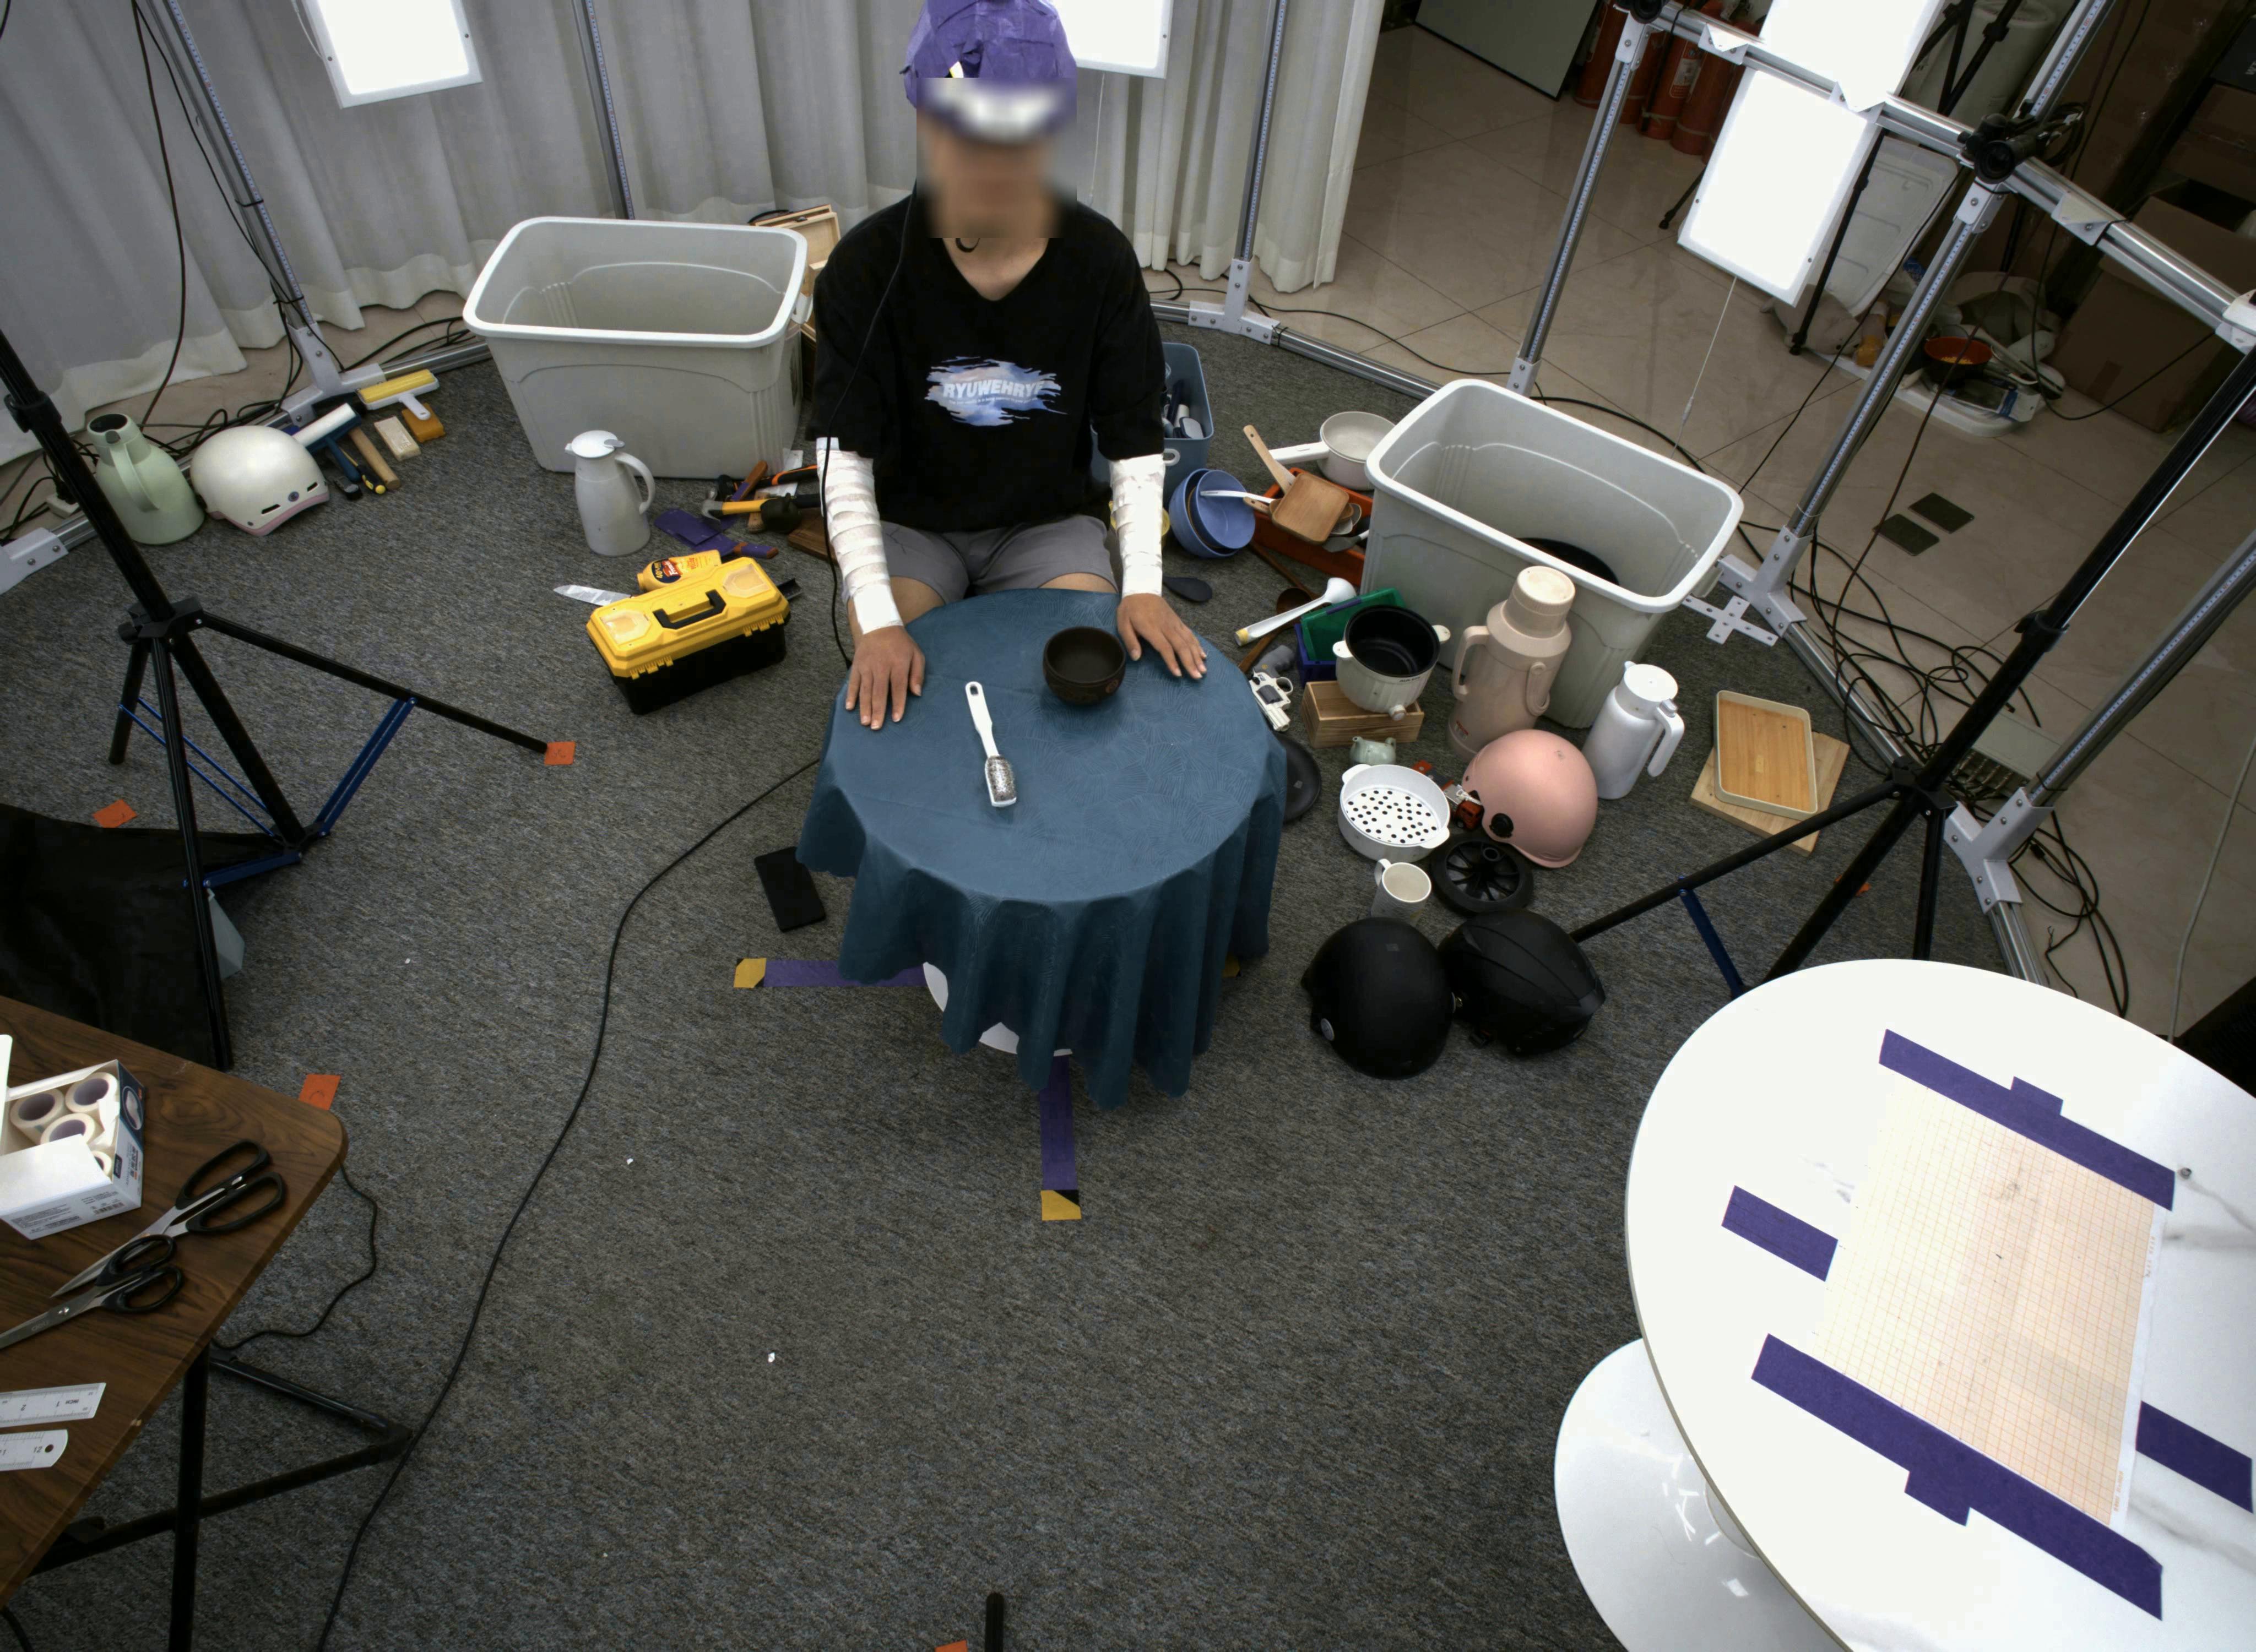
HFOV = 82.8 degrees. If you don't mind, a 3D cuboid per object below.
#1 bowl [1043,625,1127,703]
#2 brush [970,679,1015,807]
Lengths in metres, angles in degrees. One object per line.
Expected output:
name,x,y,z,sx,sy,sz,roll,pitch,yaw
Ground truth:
bowl,-0.061,-0.221,1.812,0.118,0.068,0.121,1,48,-1
brush,-0.186,-0.126,1.738,0.034,0.049,0.250,-8,51,-10
